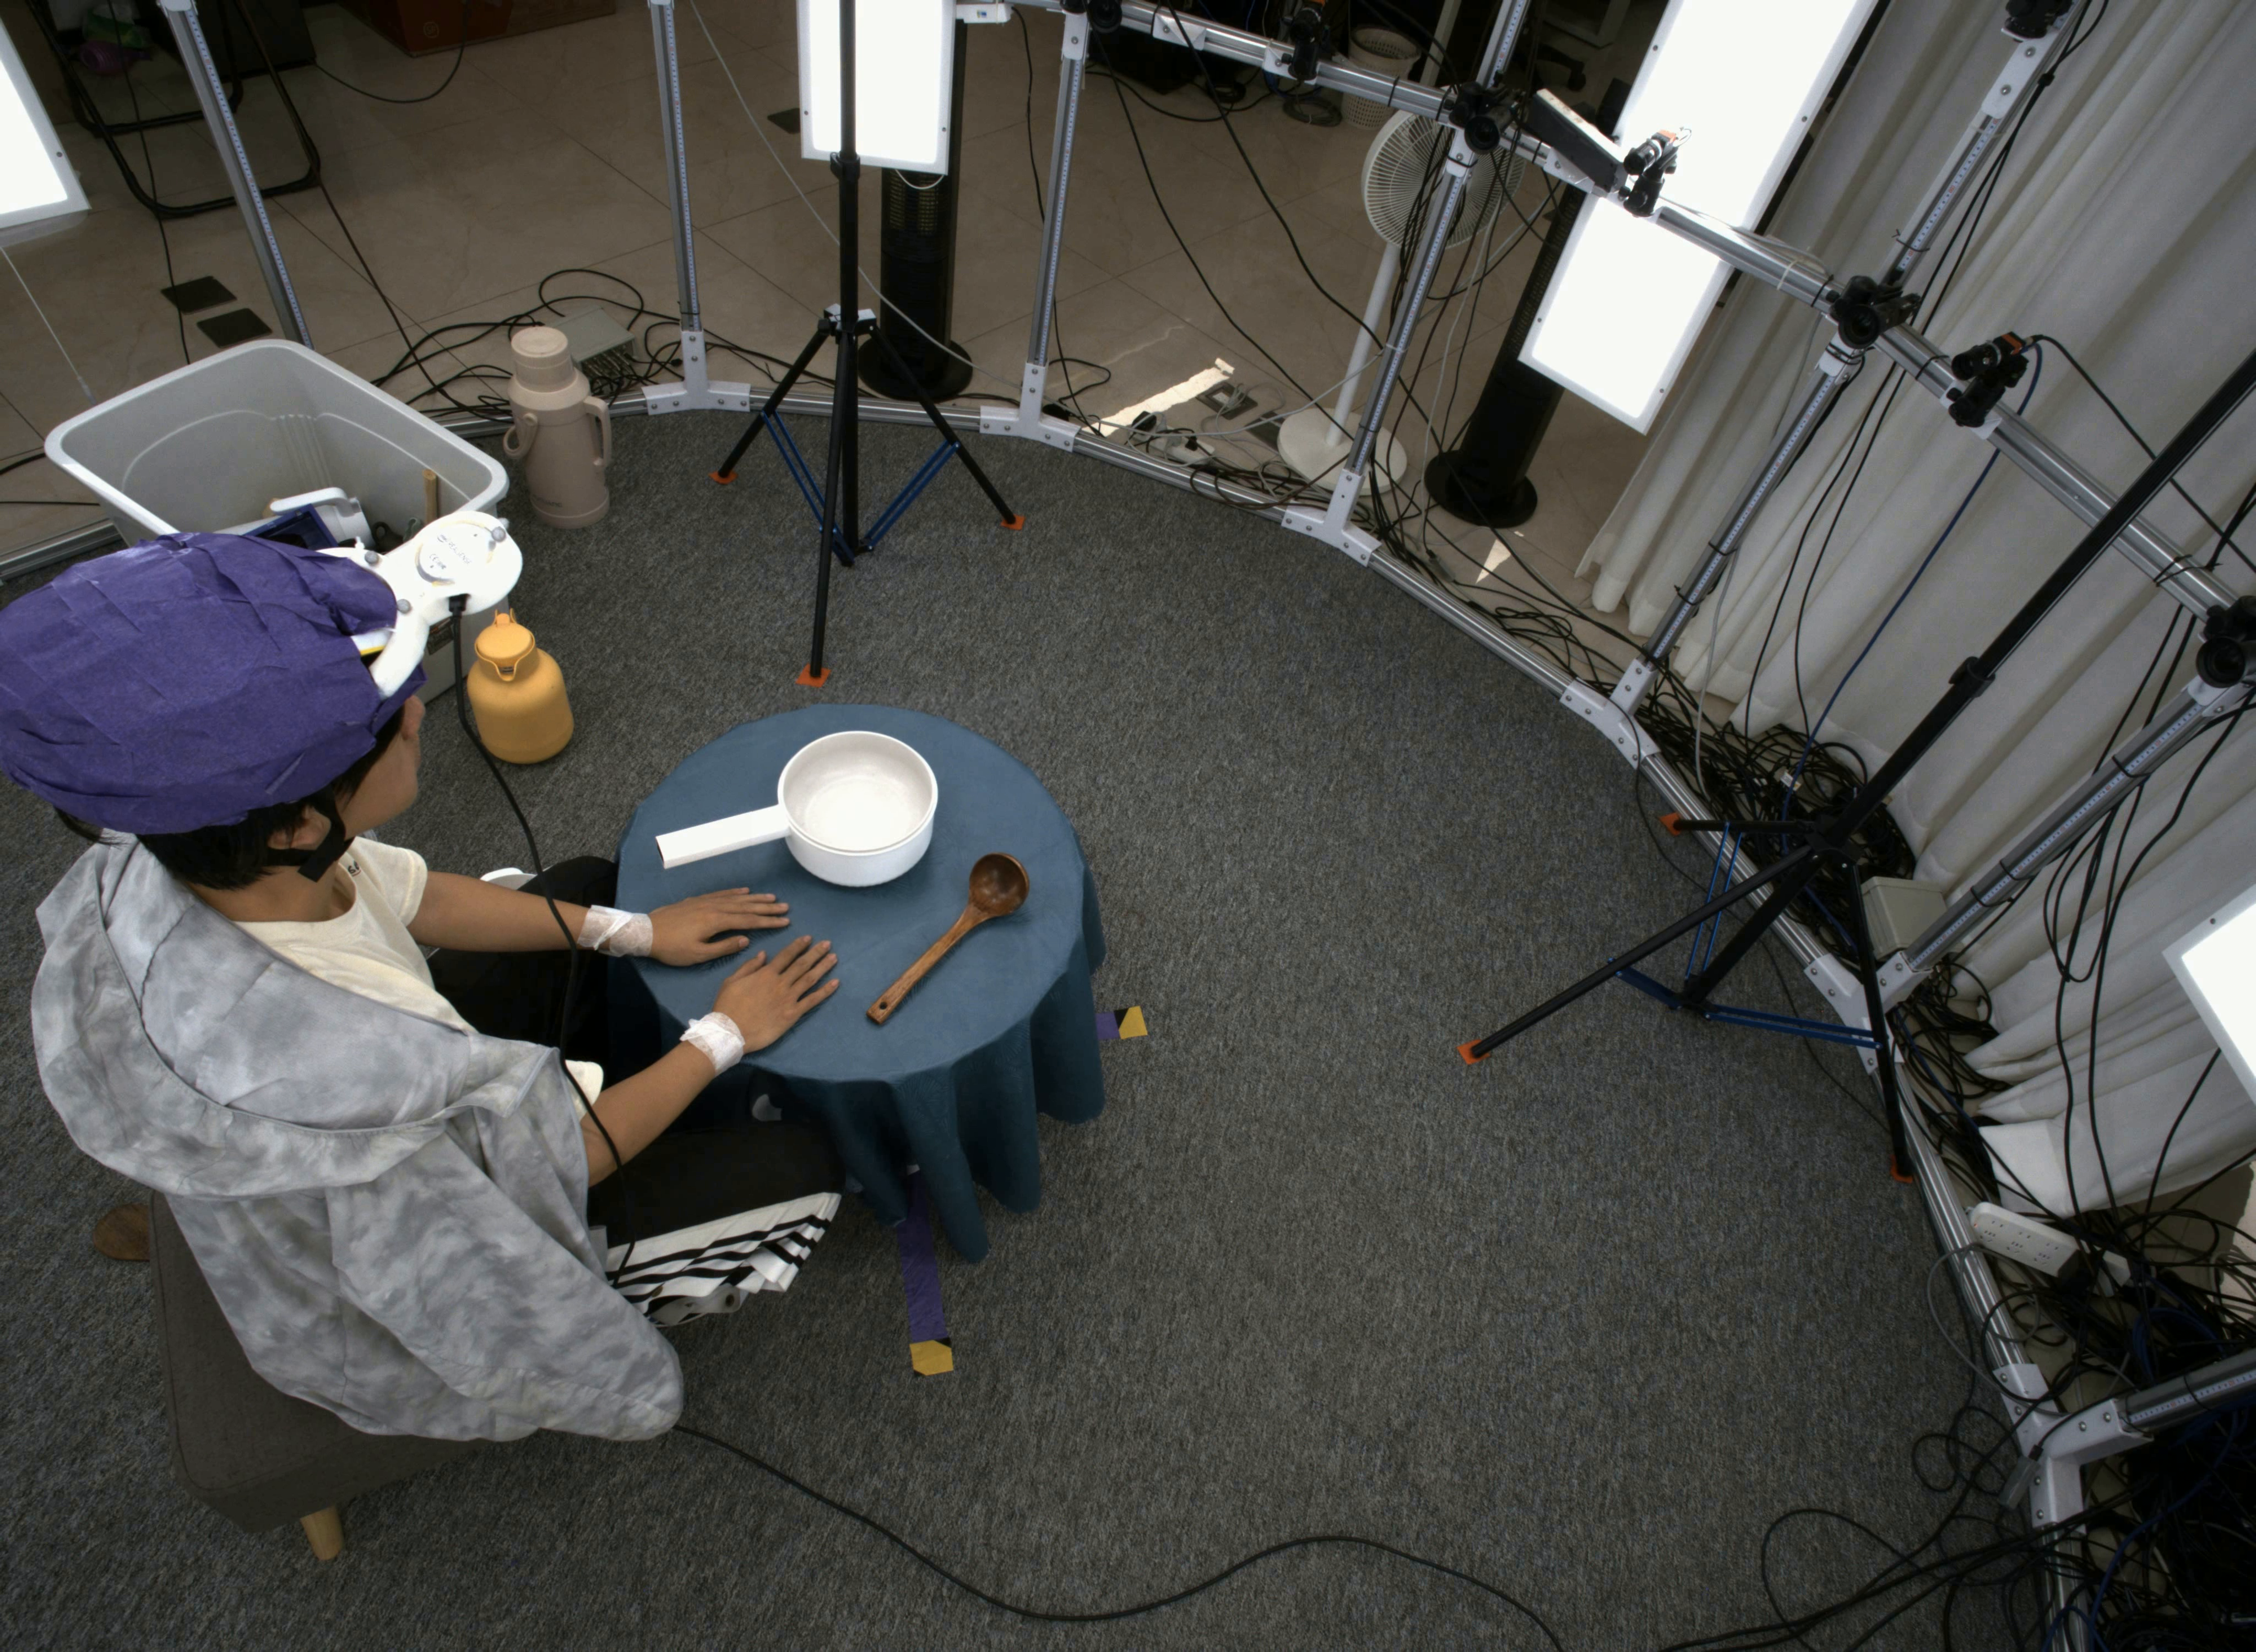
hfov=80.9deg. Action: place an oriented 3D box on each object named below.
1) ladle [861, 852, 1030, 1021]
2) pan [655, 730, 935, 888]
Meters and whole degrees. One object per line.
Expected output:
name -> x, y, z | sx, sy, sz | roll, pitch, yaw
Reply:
ladle -> -0.227, 0.133, 1.625 | 0.080, 0.078, 0.274 | 36, 53, 15
pan -> -0.420, 0.003, 1.661 | 0.356, 0.104, 0.196 | -17, 60, -24
